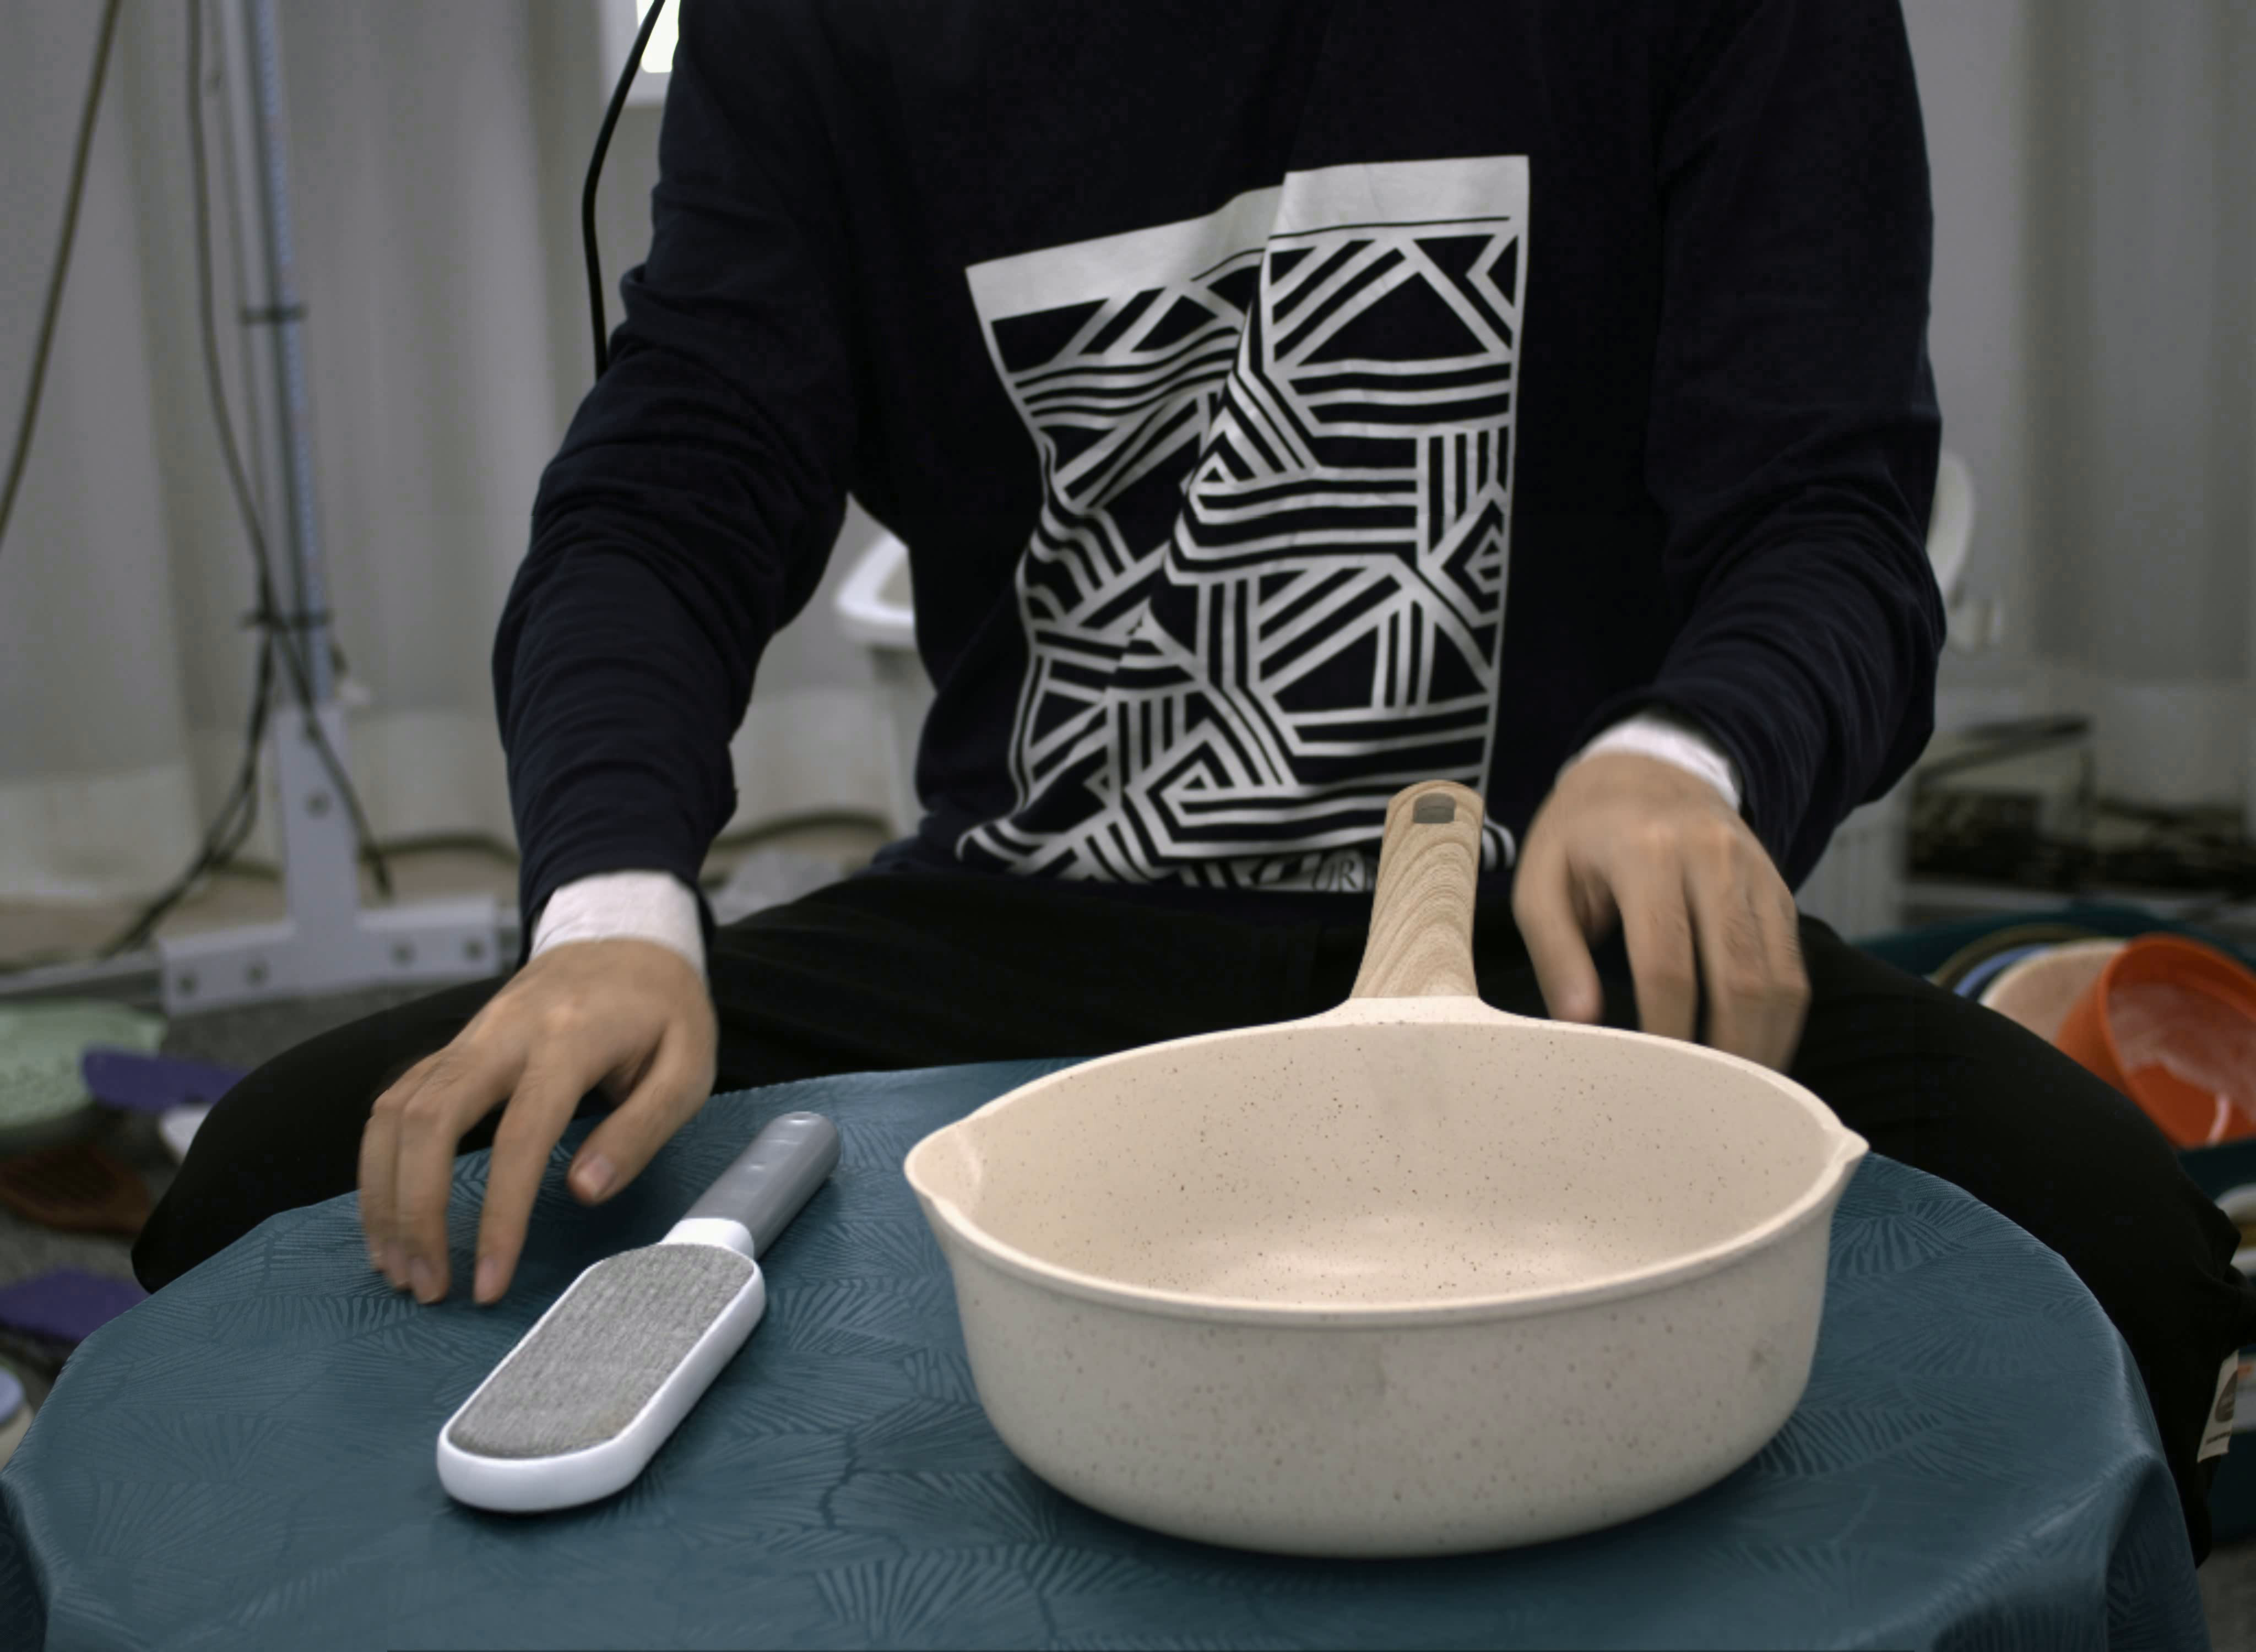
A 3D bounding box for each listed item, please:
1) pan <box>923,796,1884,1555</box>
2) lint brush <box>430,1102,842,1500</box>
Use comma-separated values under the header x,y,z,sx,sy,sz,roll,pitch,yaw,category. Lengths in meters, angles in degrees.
x,y,z,sx,sy,sz,roll,pitch,yaw,category
0.086,0.095,1.584,0.263,0.101,0.437,-4,15,7,pan
-0.134,0.136,1.609,0.060,0.021,0.310,-4,14,14,lint brush
